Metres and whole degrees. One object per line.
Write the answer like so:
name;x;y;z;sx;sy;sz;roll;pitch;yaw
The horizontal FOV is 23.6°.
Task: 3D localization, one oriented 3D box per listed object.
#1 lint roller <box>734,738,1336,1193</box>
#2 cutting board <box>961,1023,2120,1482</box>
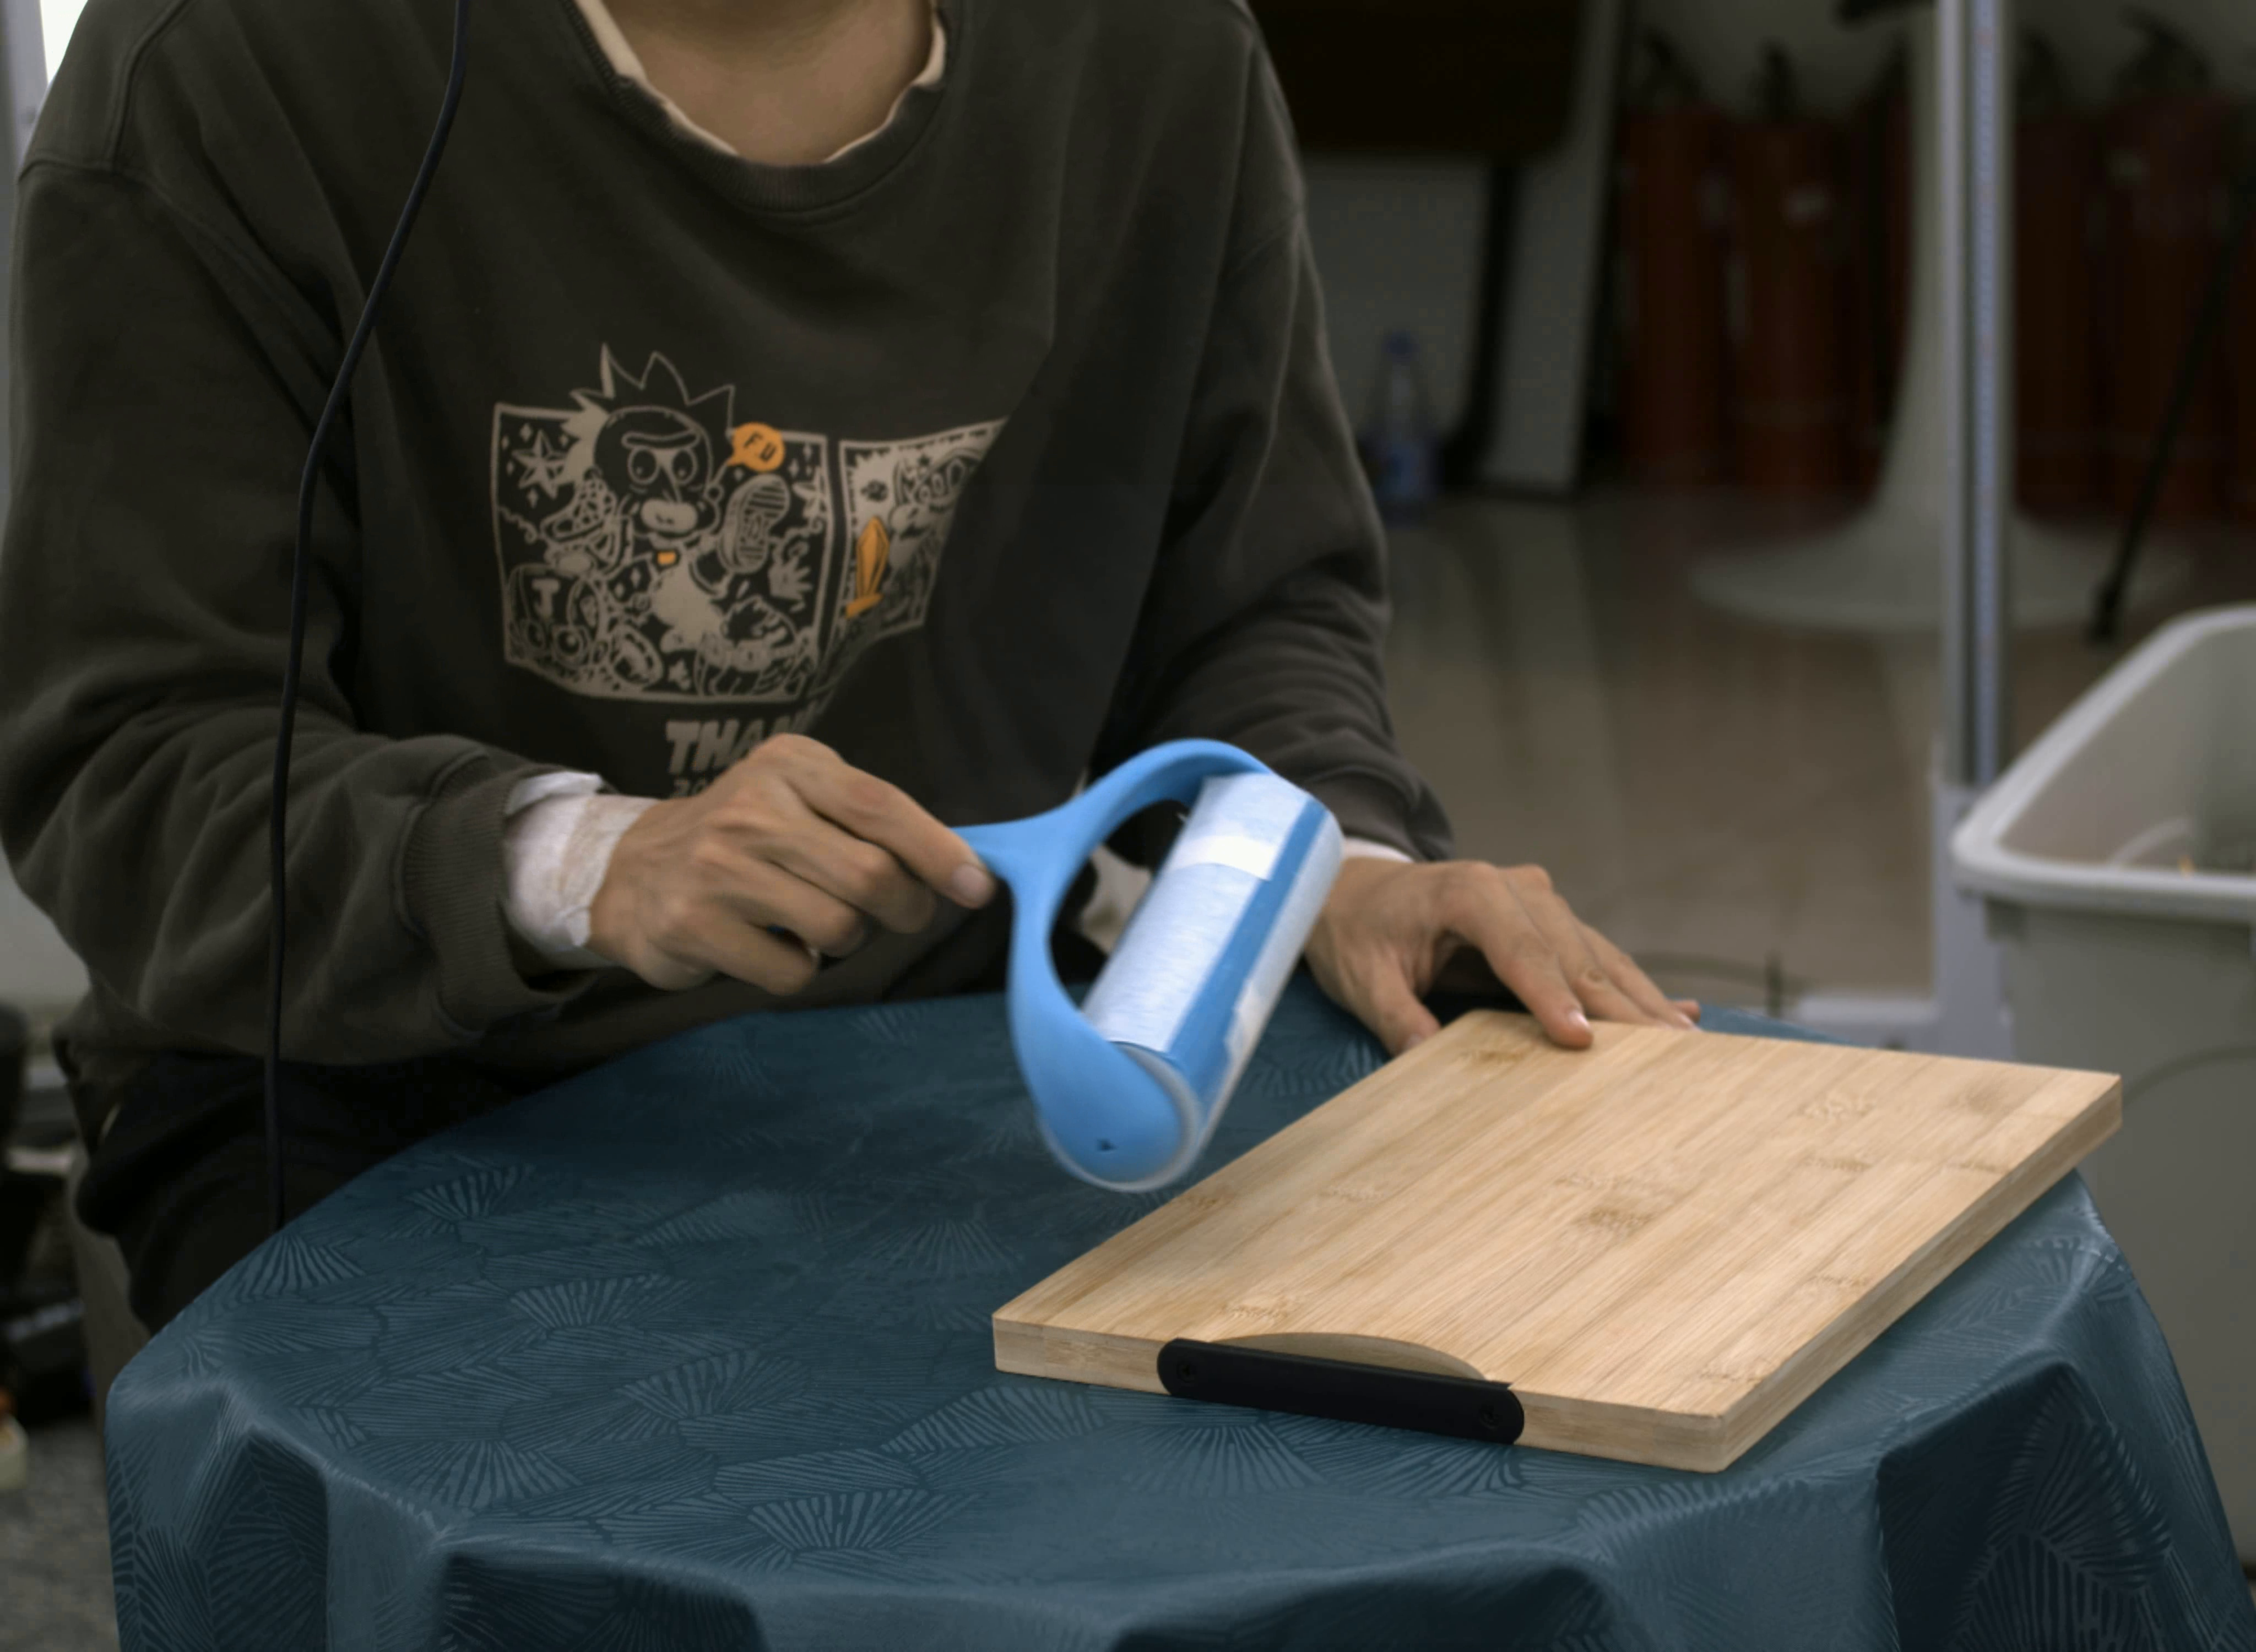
lint roller;-0.038;0.031;1.713;0.179;0.068;0.228;14;30;9
cutting board;0.139;0.126;1.682;0.251;0.024;0.343;3;15;29
